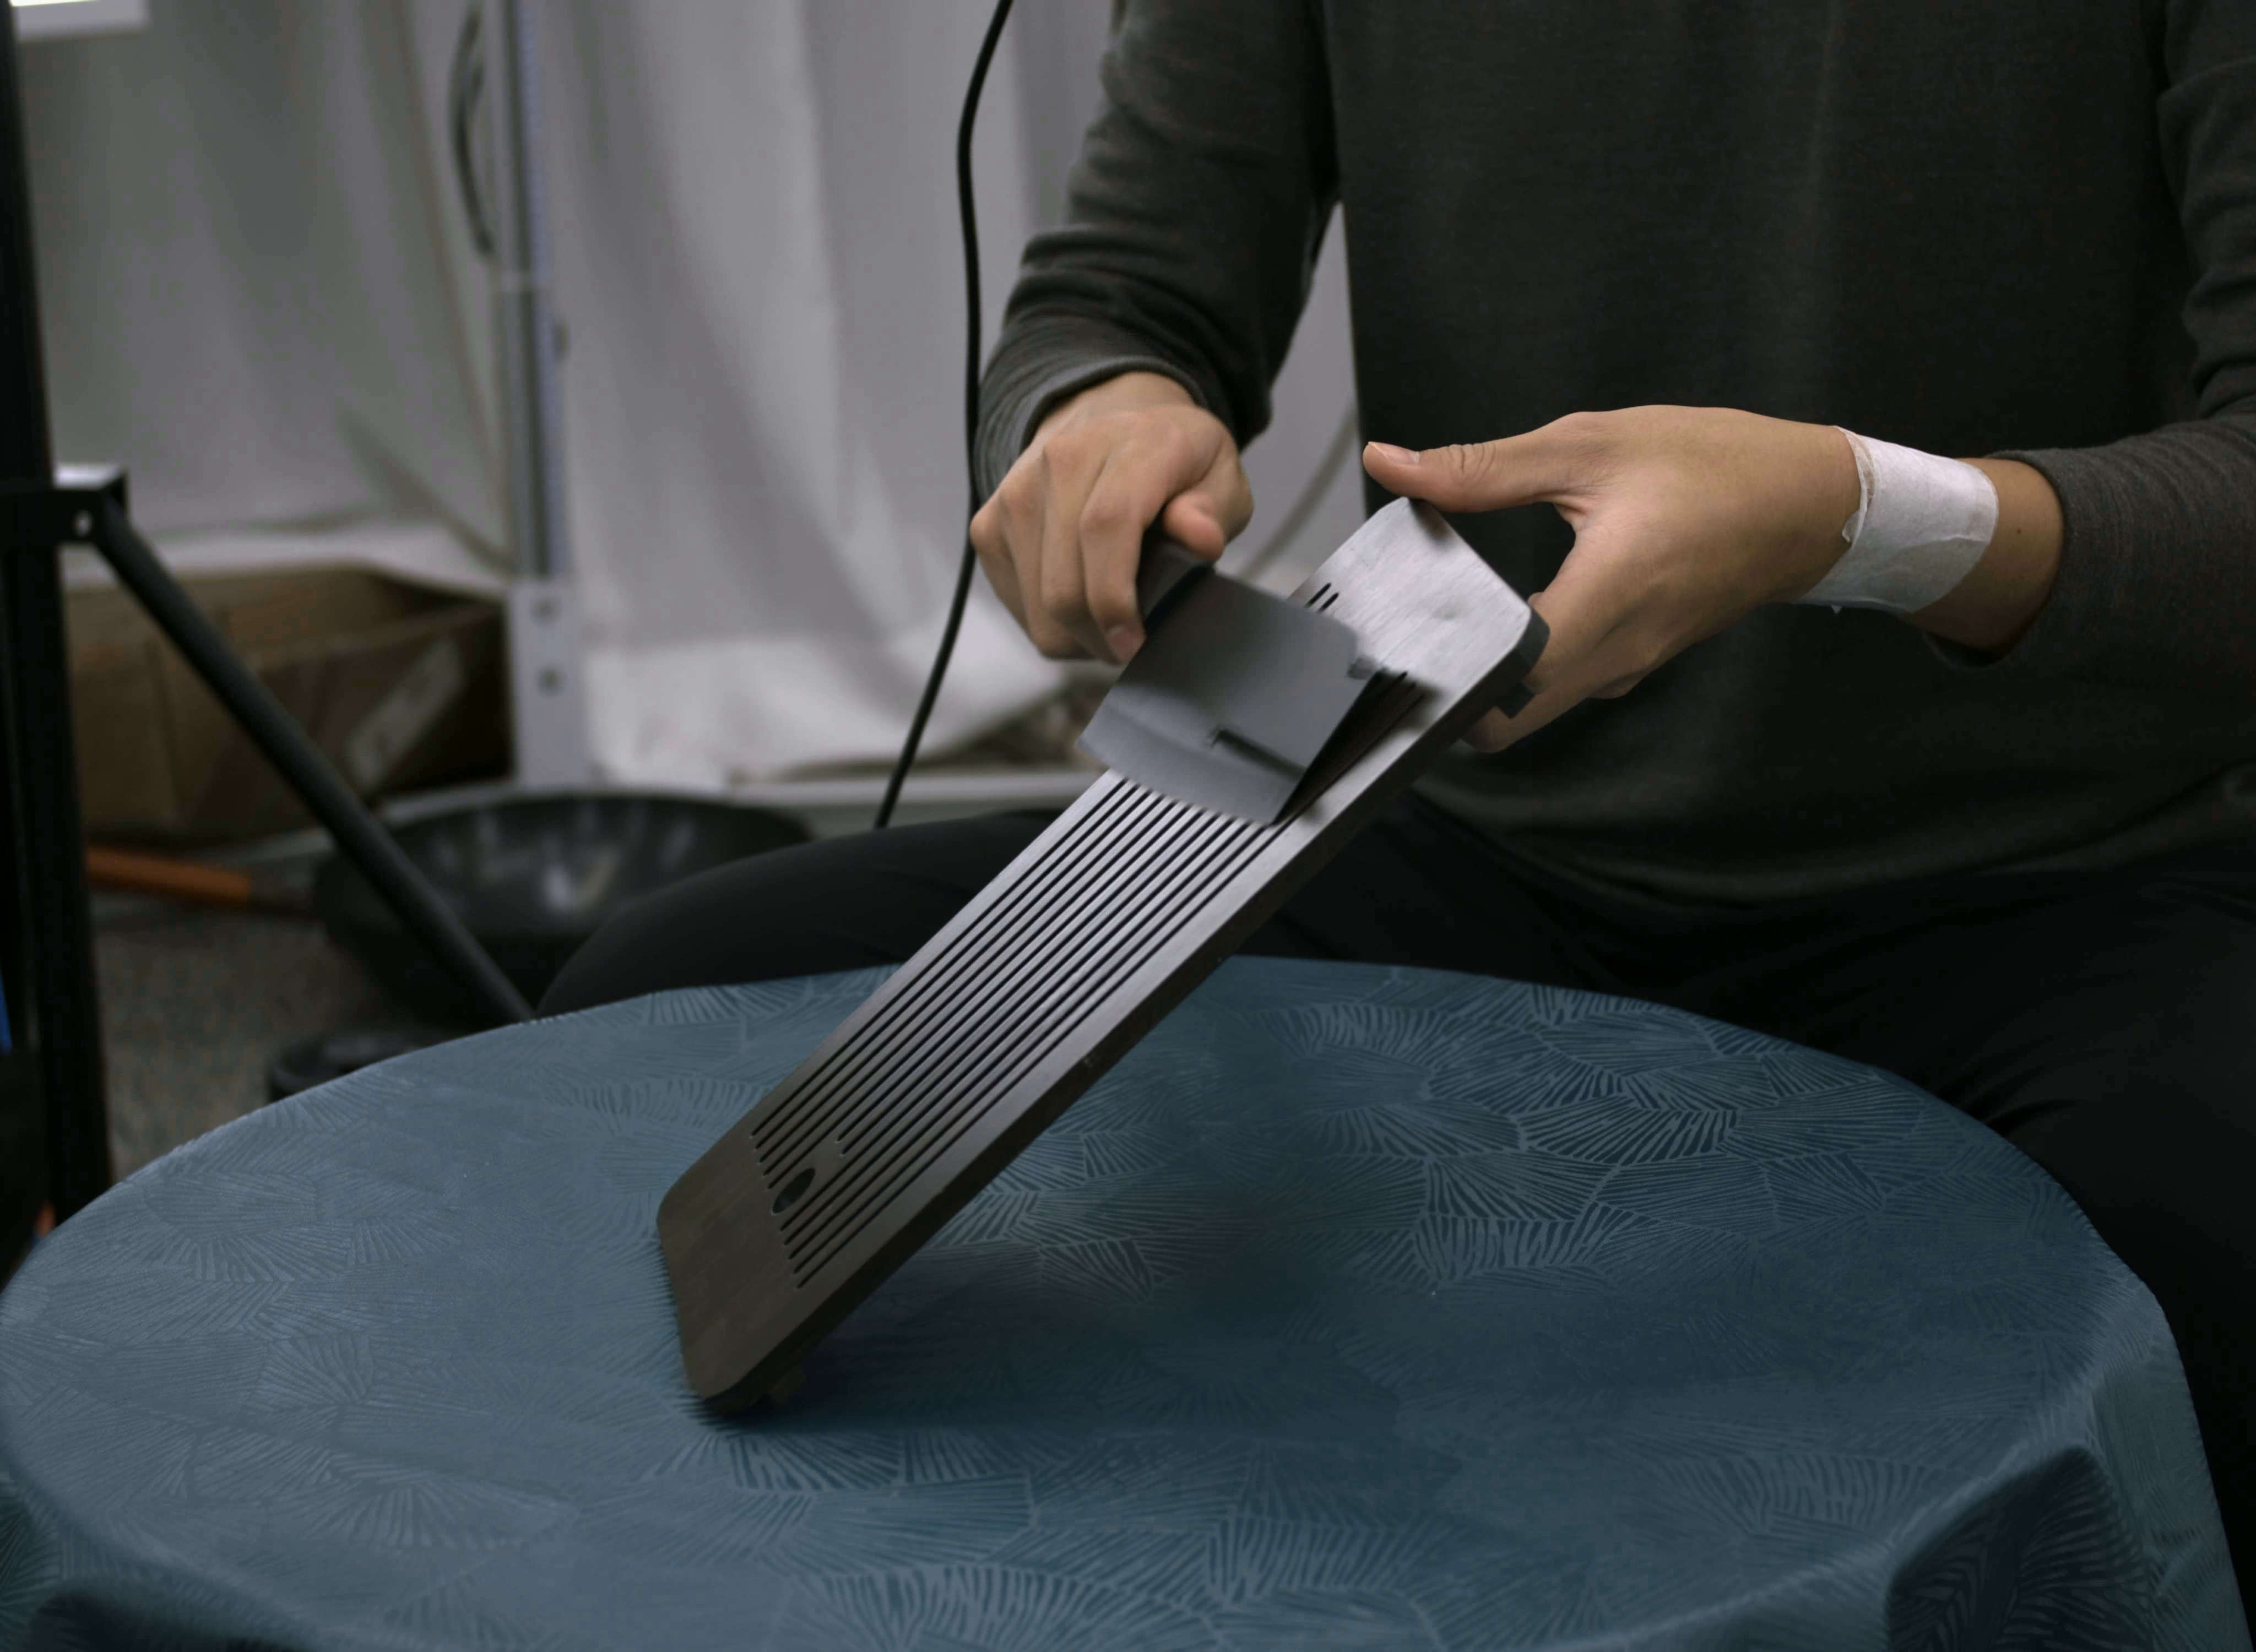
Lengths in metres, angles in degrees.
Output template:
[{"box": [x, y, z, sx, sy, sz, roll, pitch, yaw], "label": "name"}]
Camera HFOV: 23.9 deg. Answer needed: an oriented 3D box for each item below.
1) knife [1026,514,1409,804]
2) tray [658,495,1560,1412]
[{"box": [0.016, -0.053, 1.547, 0.020, 0.081, 0.306, 37, 1, -19], "label": "knife"}, {"box": [-0.009, 0.033, 1.459, 0.306, 0.018, 0.172, -43, 17, 5], "label": "tray"}]
